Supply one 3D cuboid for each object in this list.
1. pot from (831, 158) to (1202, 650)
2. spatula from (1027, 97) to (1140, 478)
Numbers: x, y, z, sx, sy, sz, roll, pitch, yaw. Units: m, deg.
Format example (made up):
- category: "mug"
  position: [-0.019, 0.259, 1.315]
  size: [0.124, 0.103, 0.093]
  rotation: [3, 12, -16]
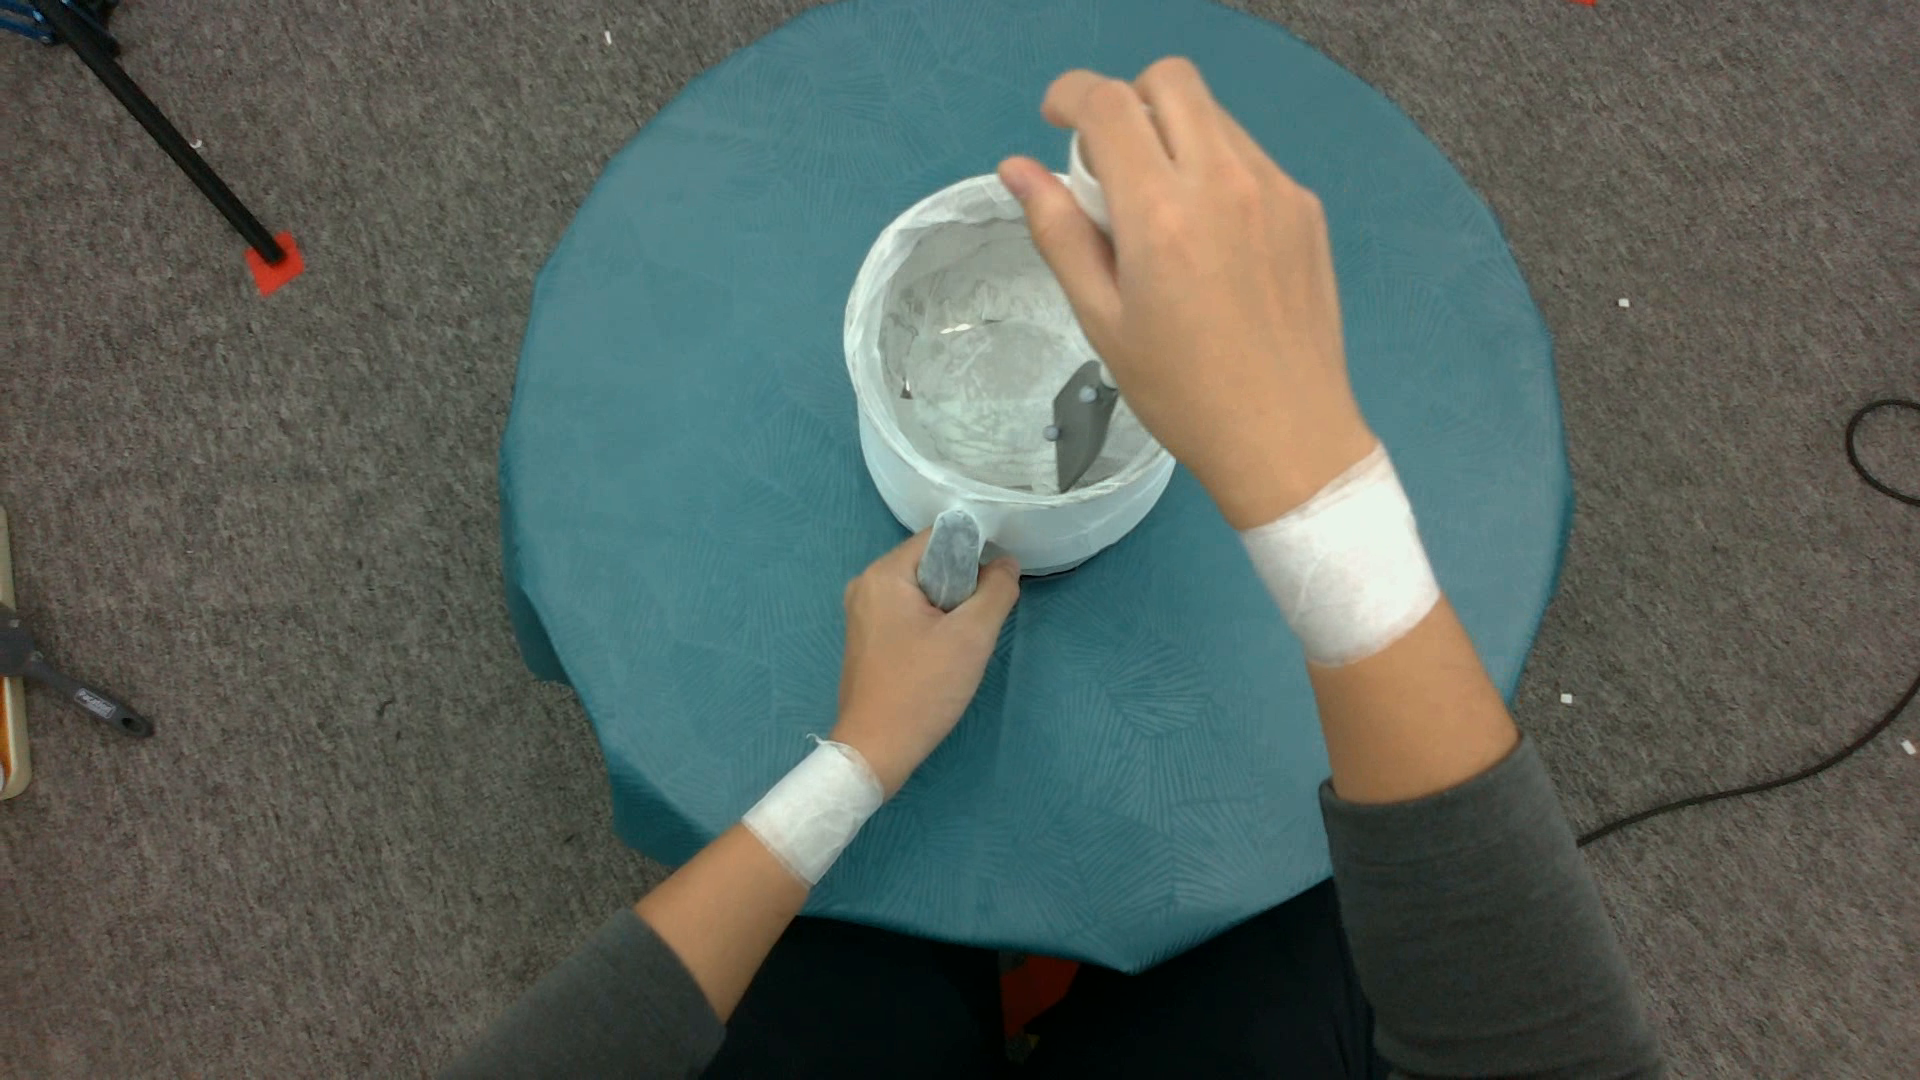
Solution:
- category: "pot"
  position: [0.018, -0.061, 0.708]
  size: [0.178, 0.136, 0.234]
  rotation: [17, 73, 5]
- category: "spatula"
  position: [0.043, -0.089, 0.570]
  size: [0.032, 0.287, 0.059]
  rotation: [-3, 75, 0]
